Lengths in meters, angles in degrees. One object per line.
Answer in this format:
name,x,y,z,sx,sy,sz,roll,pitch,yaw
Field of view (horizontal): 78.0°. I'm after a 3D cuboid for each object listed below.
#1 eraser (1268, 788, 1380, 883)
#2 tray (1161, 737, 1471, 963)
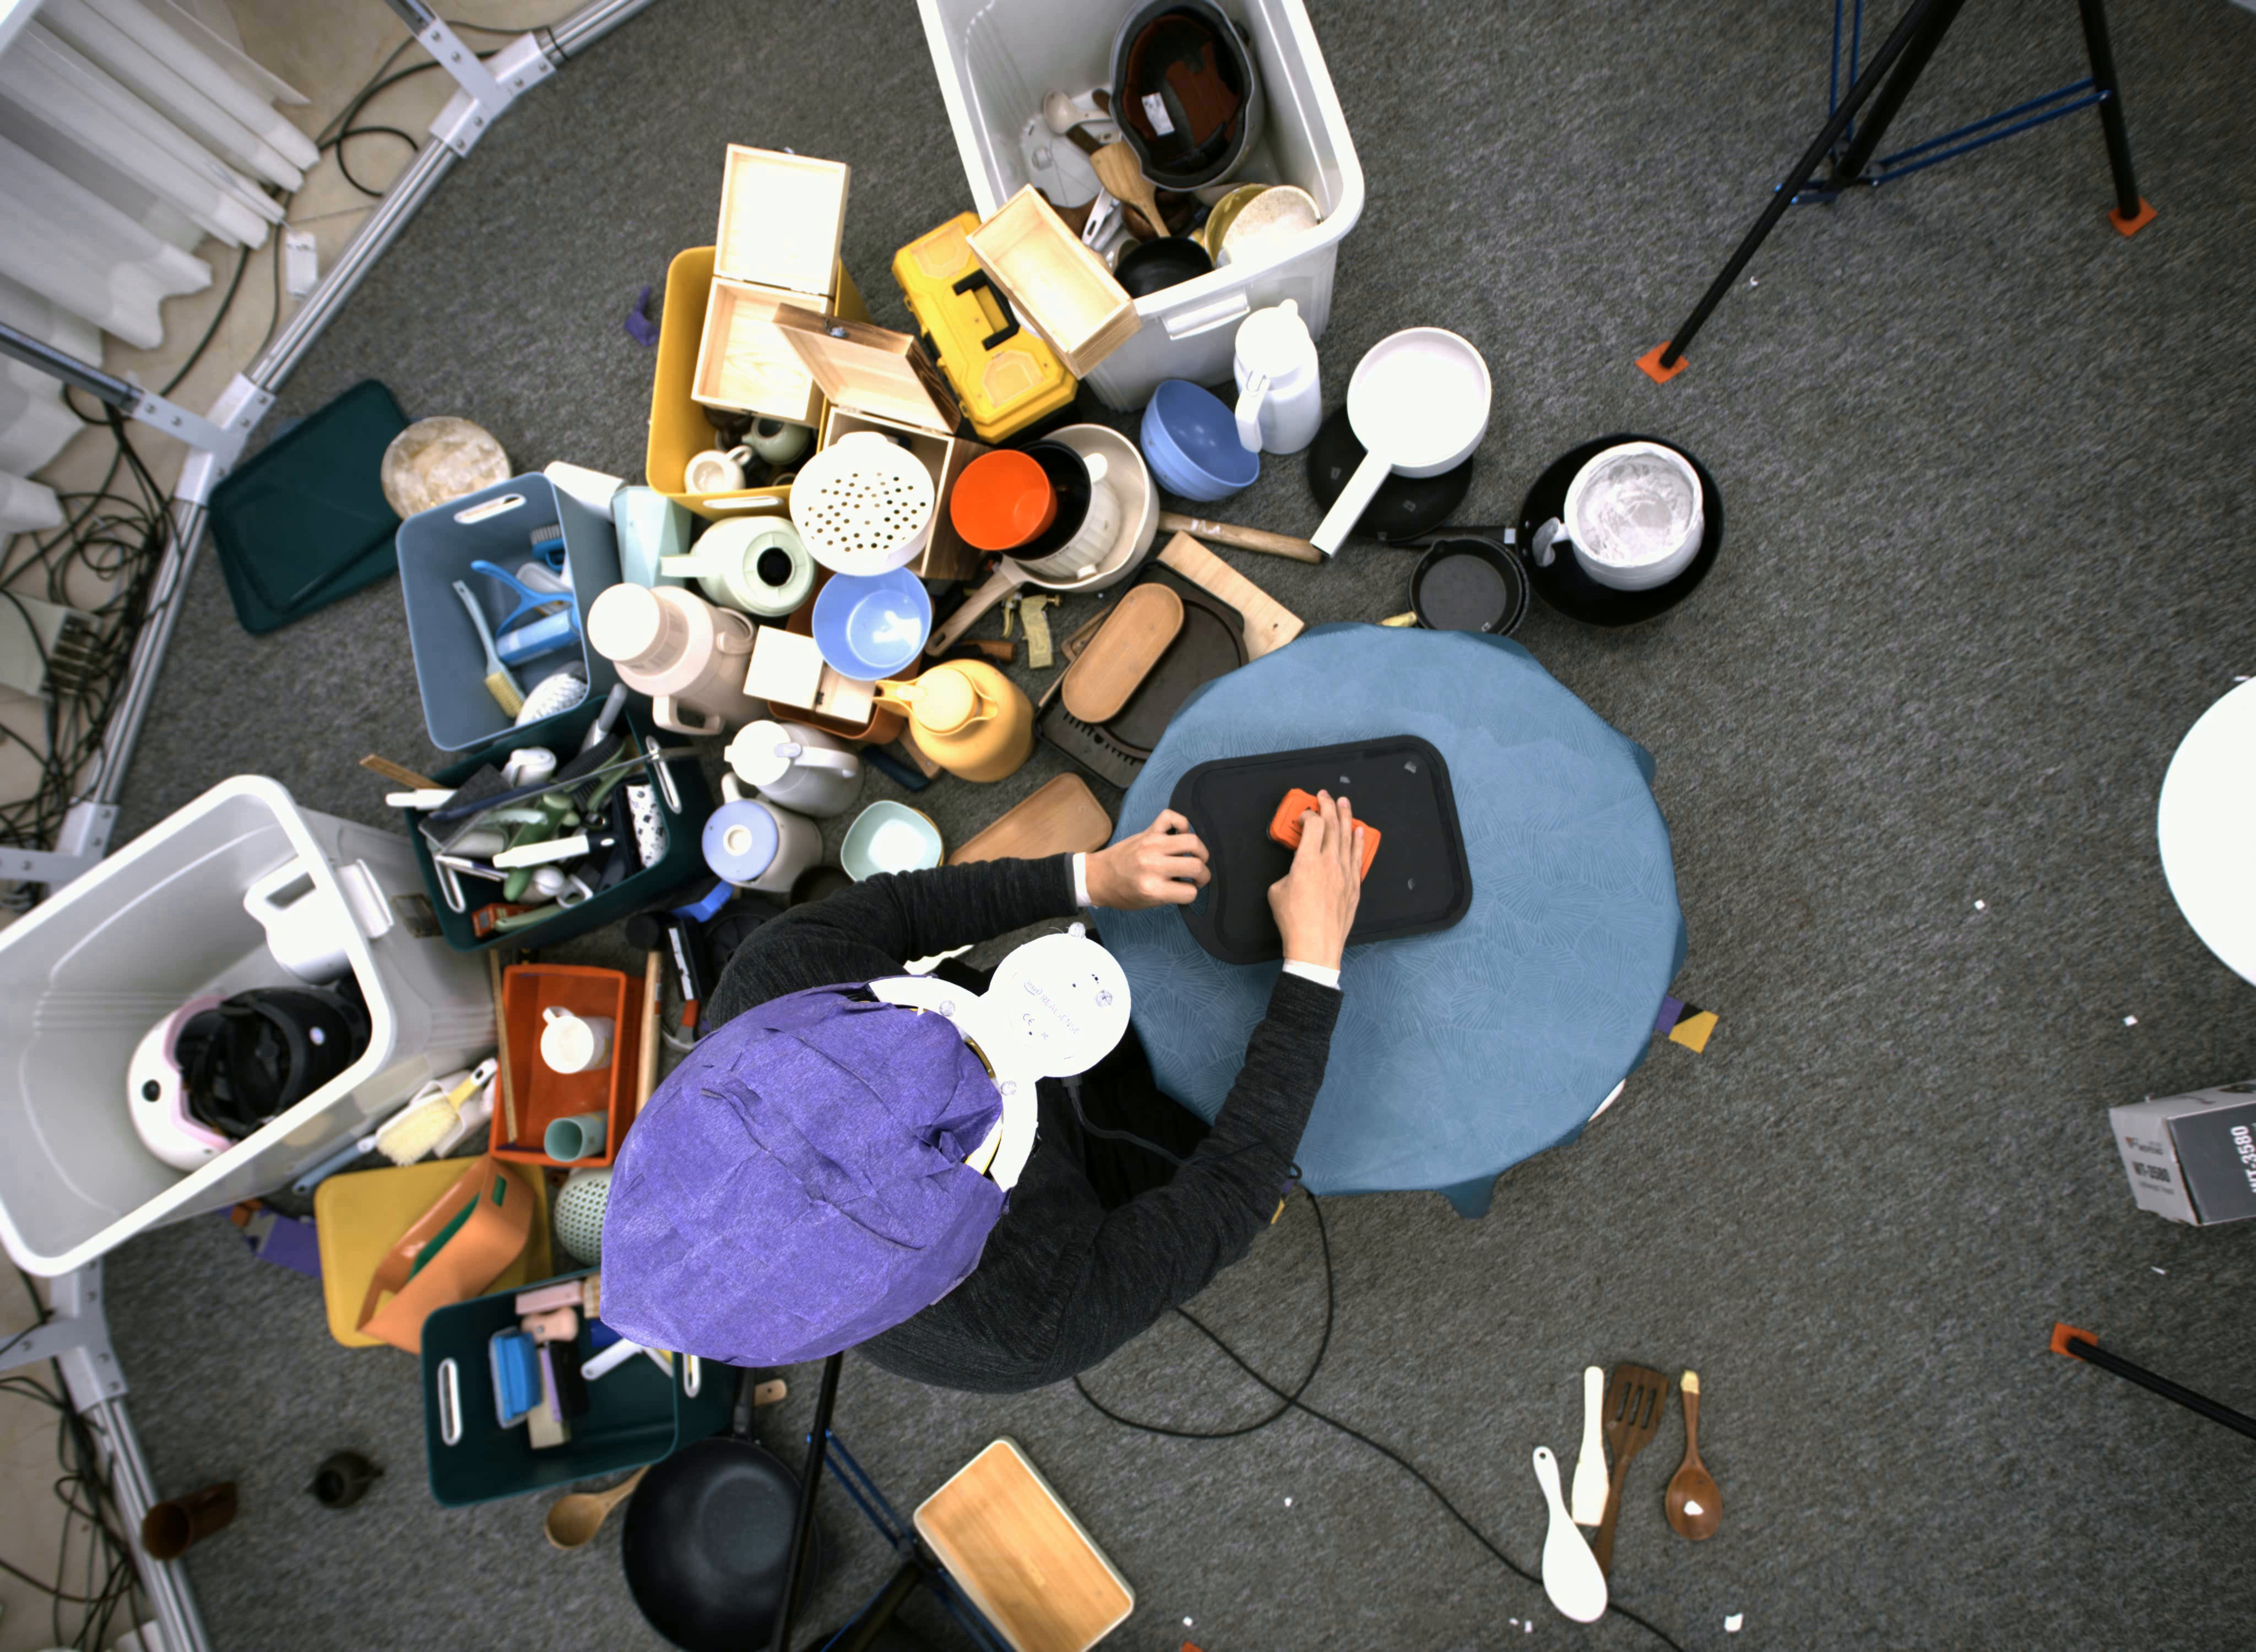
eraser,0.199,0.009,1.407,0.108,0.023,0.058,28,80,-7
tray,0.193,0.022,1.413,0.324,0.010,0.210,-8,84,-13
